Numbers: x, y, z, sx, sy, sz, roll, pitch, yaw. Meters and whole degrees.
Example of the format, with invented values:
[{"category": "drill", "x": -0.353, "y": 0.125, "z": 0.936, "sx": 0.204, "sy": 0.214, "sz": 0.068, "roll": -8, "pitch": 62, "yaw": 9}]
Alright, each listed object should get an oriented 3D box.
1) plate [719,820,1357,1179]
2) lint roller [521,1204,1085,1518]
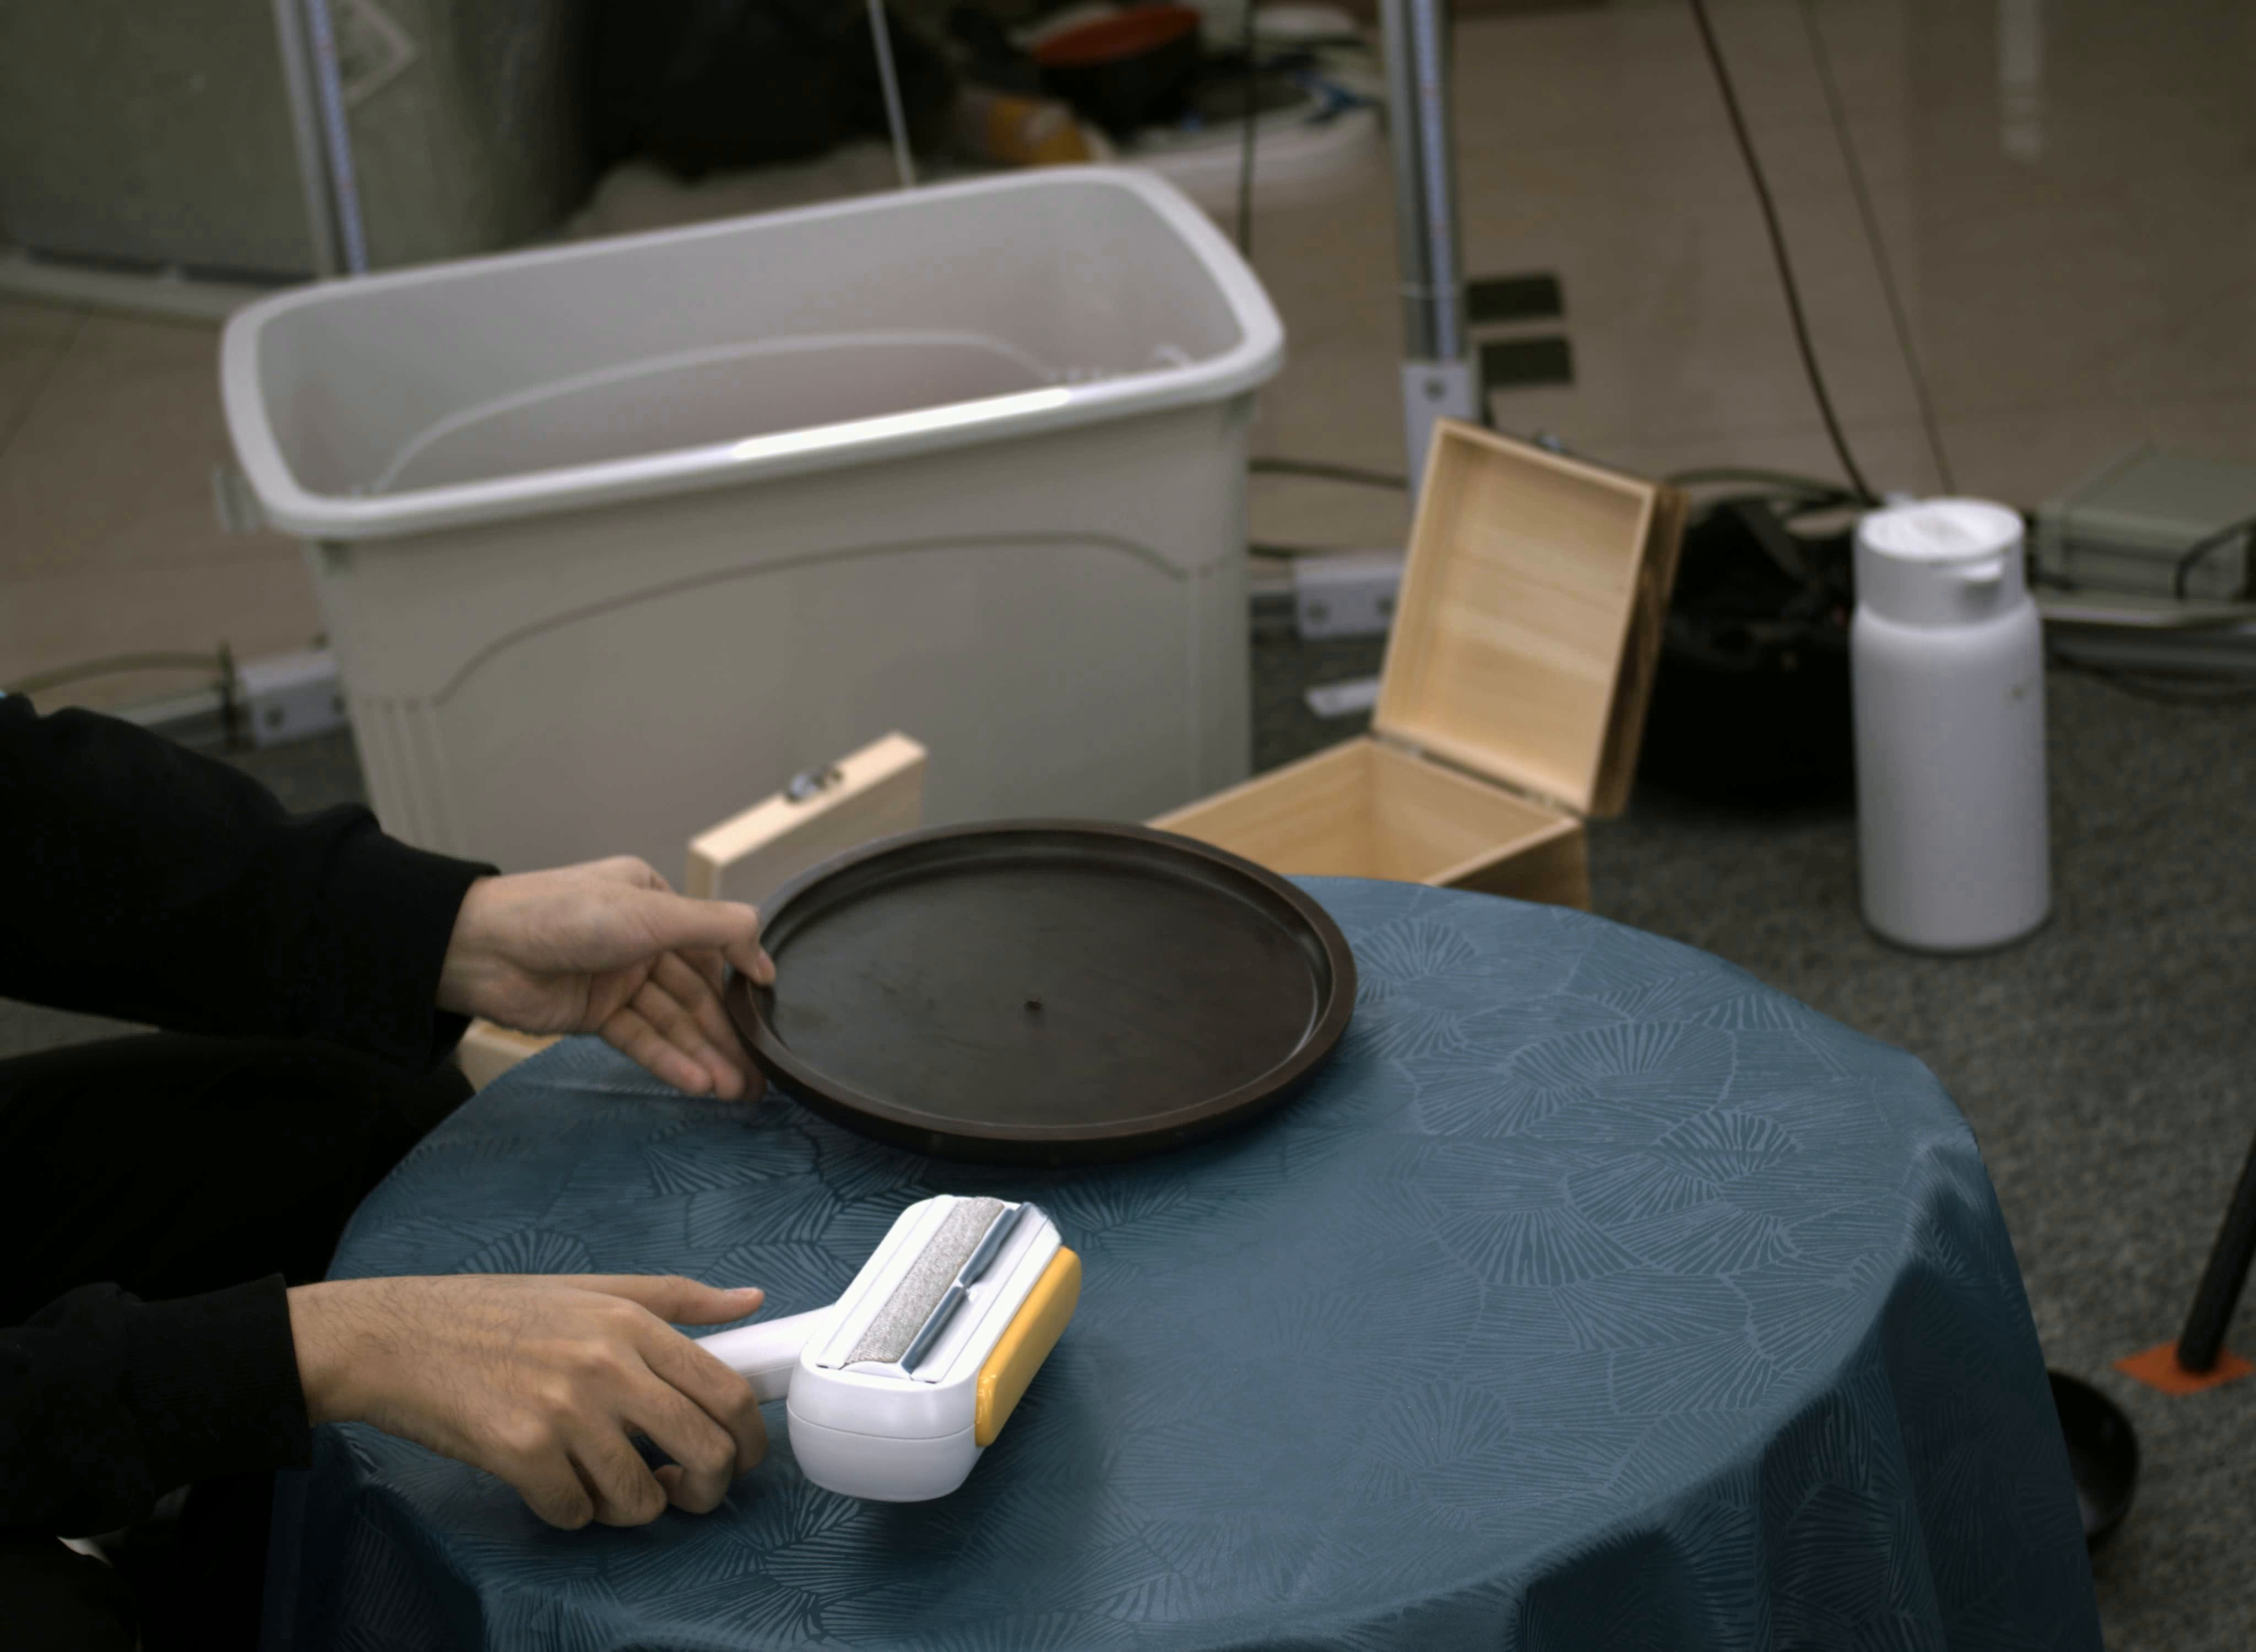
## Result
[{"category": "plate", "x": -0.035, "y": 0.067, "z": 2.246, "sx": 0.254, "sy": 0.029, "sz": 0.250, "roll": -1, "pitch": 30, "yaw": 0}, {"category": "lint roller", "x": -0.124, "y": 0.189, "z": 1.986, "sx": 0.192, "sy": 0.075, "sz": 0.190, "roll": 0, "pitch": 20, "yaw": 17}]
